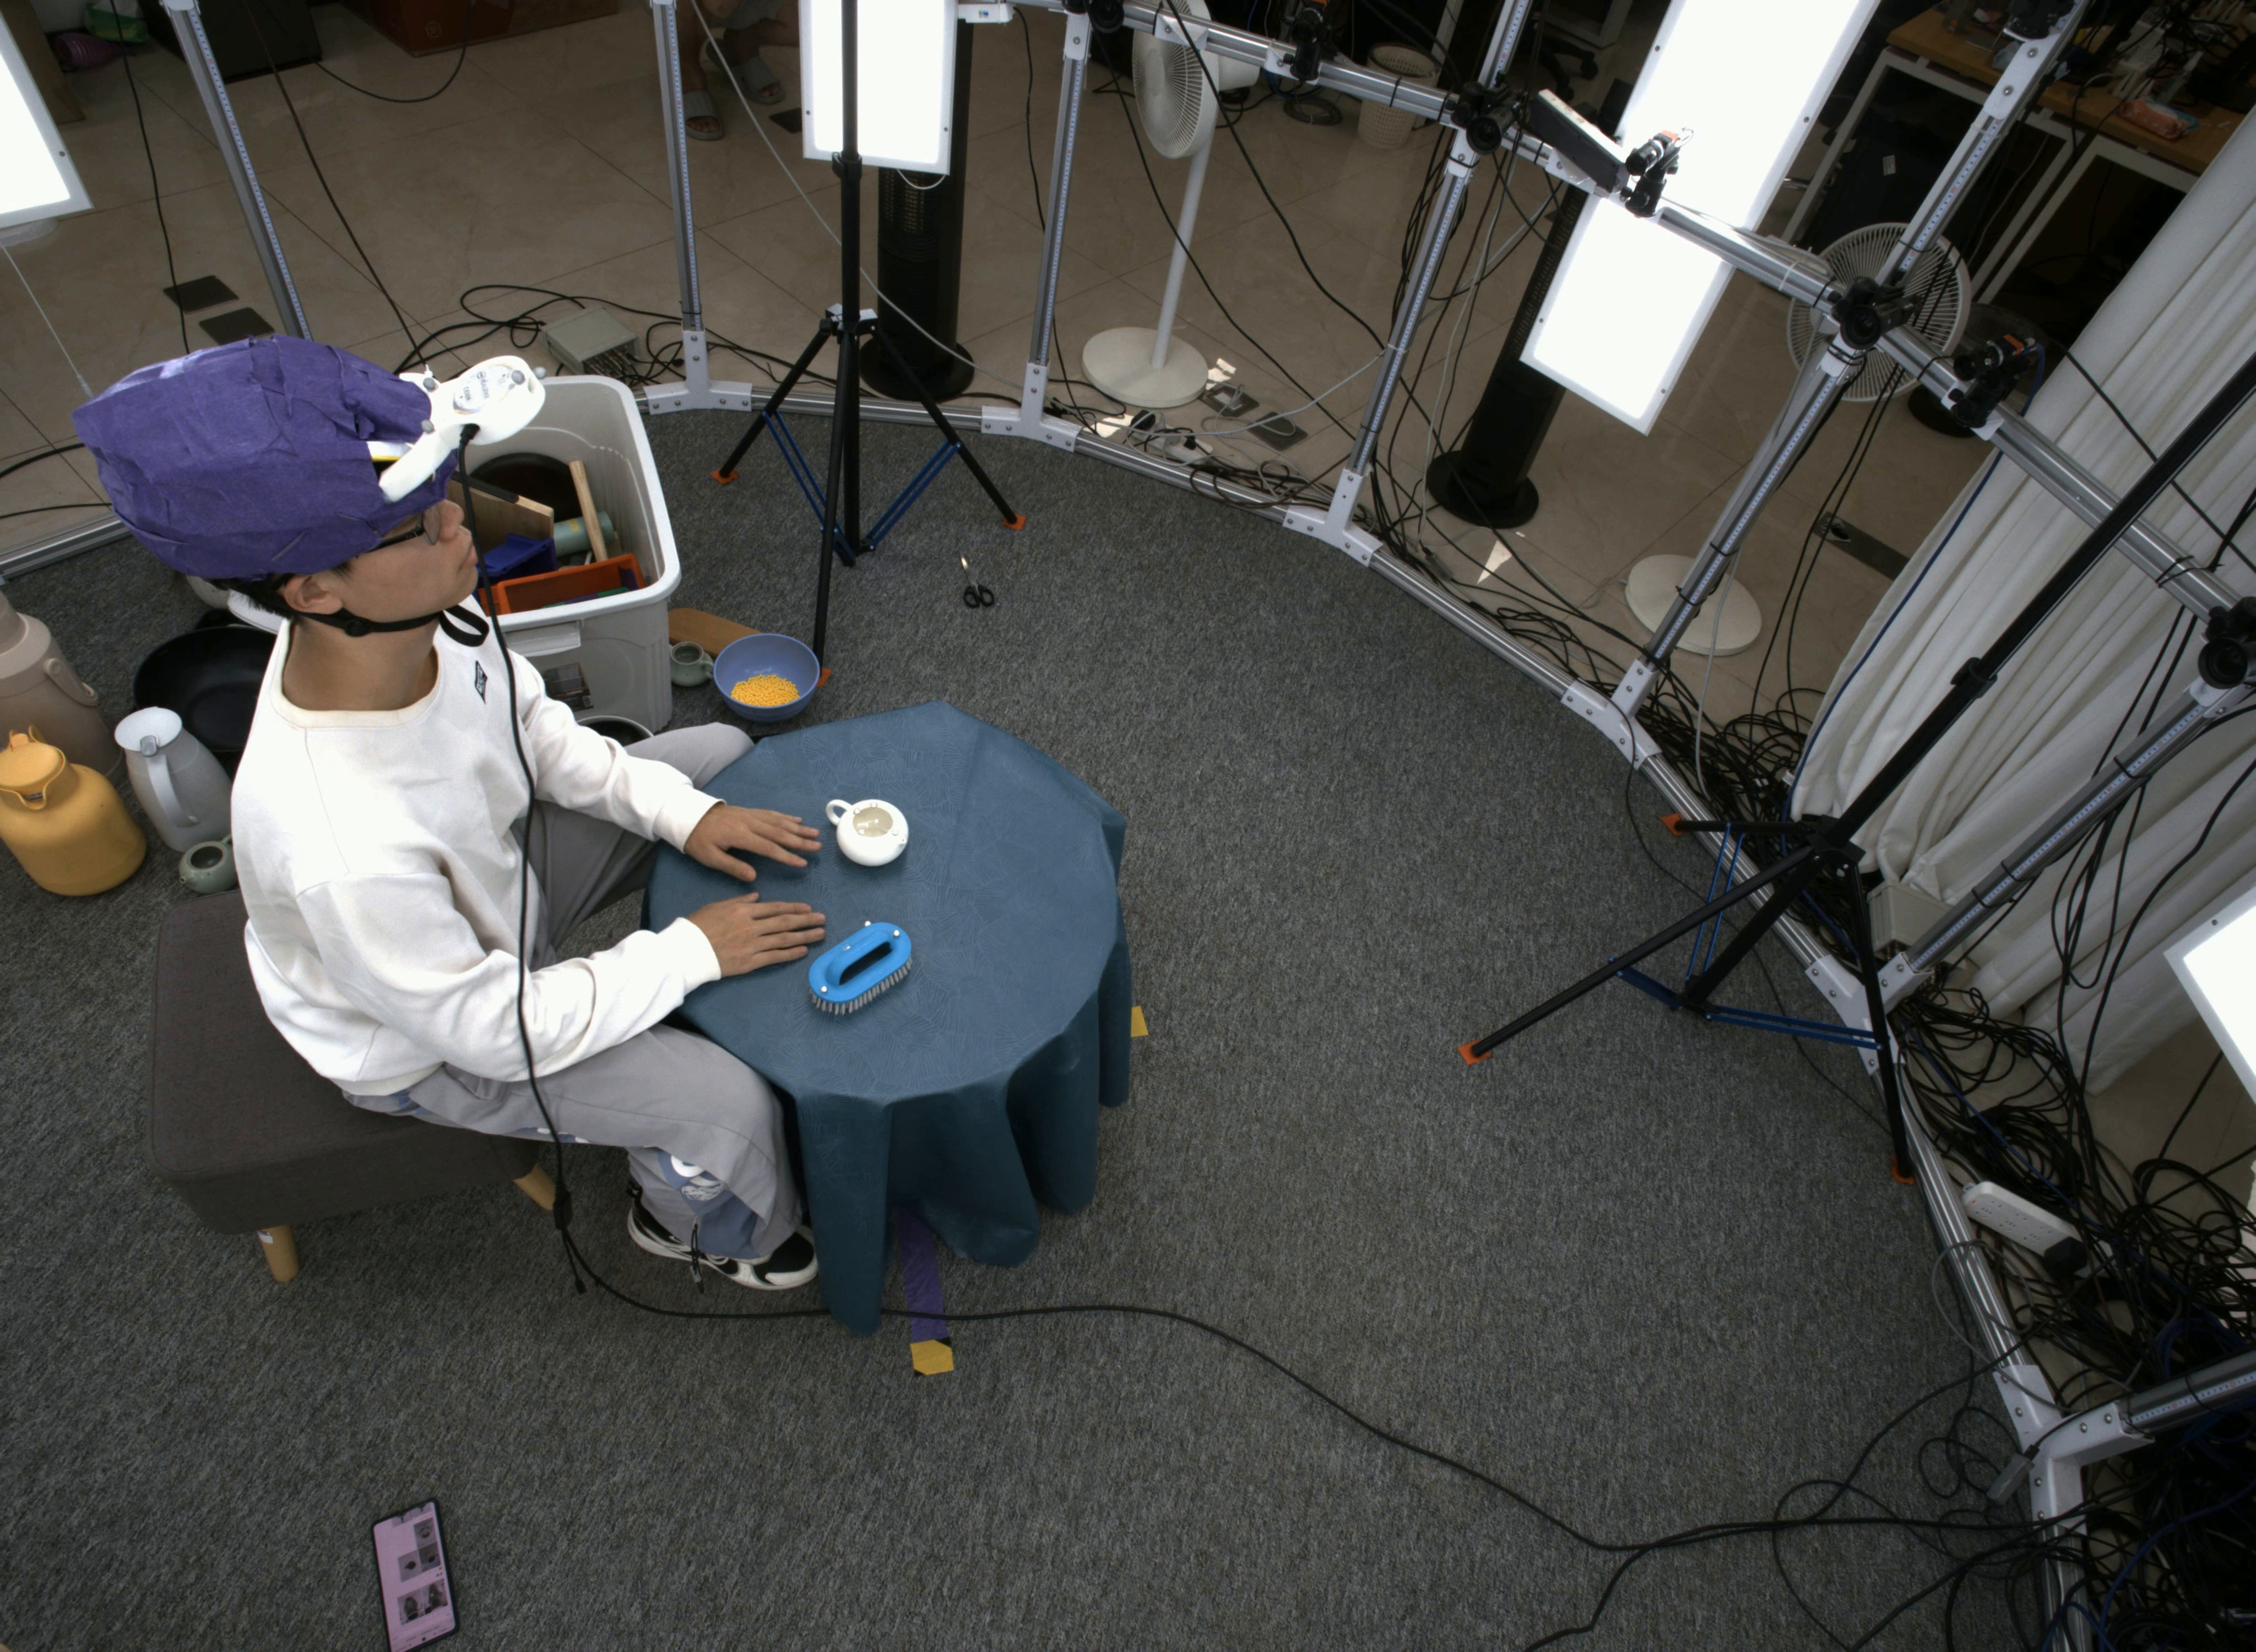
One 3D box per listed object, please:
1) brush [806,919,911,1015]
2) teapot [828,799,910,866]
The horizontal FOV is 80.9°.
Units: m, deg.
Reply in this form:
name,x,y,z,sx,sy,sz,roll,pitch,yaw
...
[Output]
name,x,y,z,sx,sy,sz,roll,pitch,yaw
brush,-0.328,0.165,1.593,0.142,0.065,0.083,-34,71,-31
teapot,-0.345,0.003,1.717,0.125,0.058,0.093,25,56,8
